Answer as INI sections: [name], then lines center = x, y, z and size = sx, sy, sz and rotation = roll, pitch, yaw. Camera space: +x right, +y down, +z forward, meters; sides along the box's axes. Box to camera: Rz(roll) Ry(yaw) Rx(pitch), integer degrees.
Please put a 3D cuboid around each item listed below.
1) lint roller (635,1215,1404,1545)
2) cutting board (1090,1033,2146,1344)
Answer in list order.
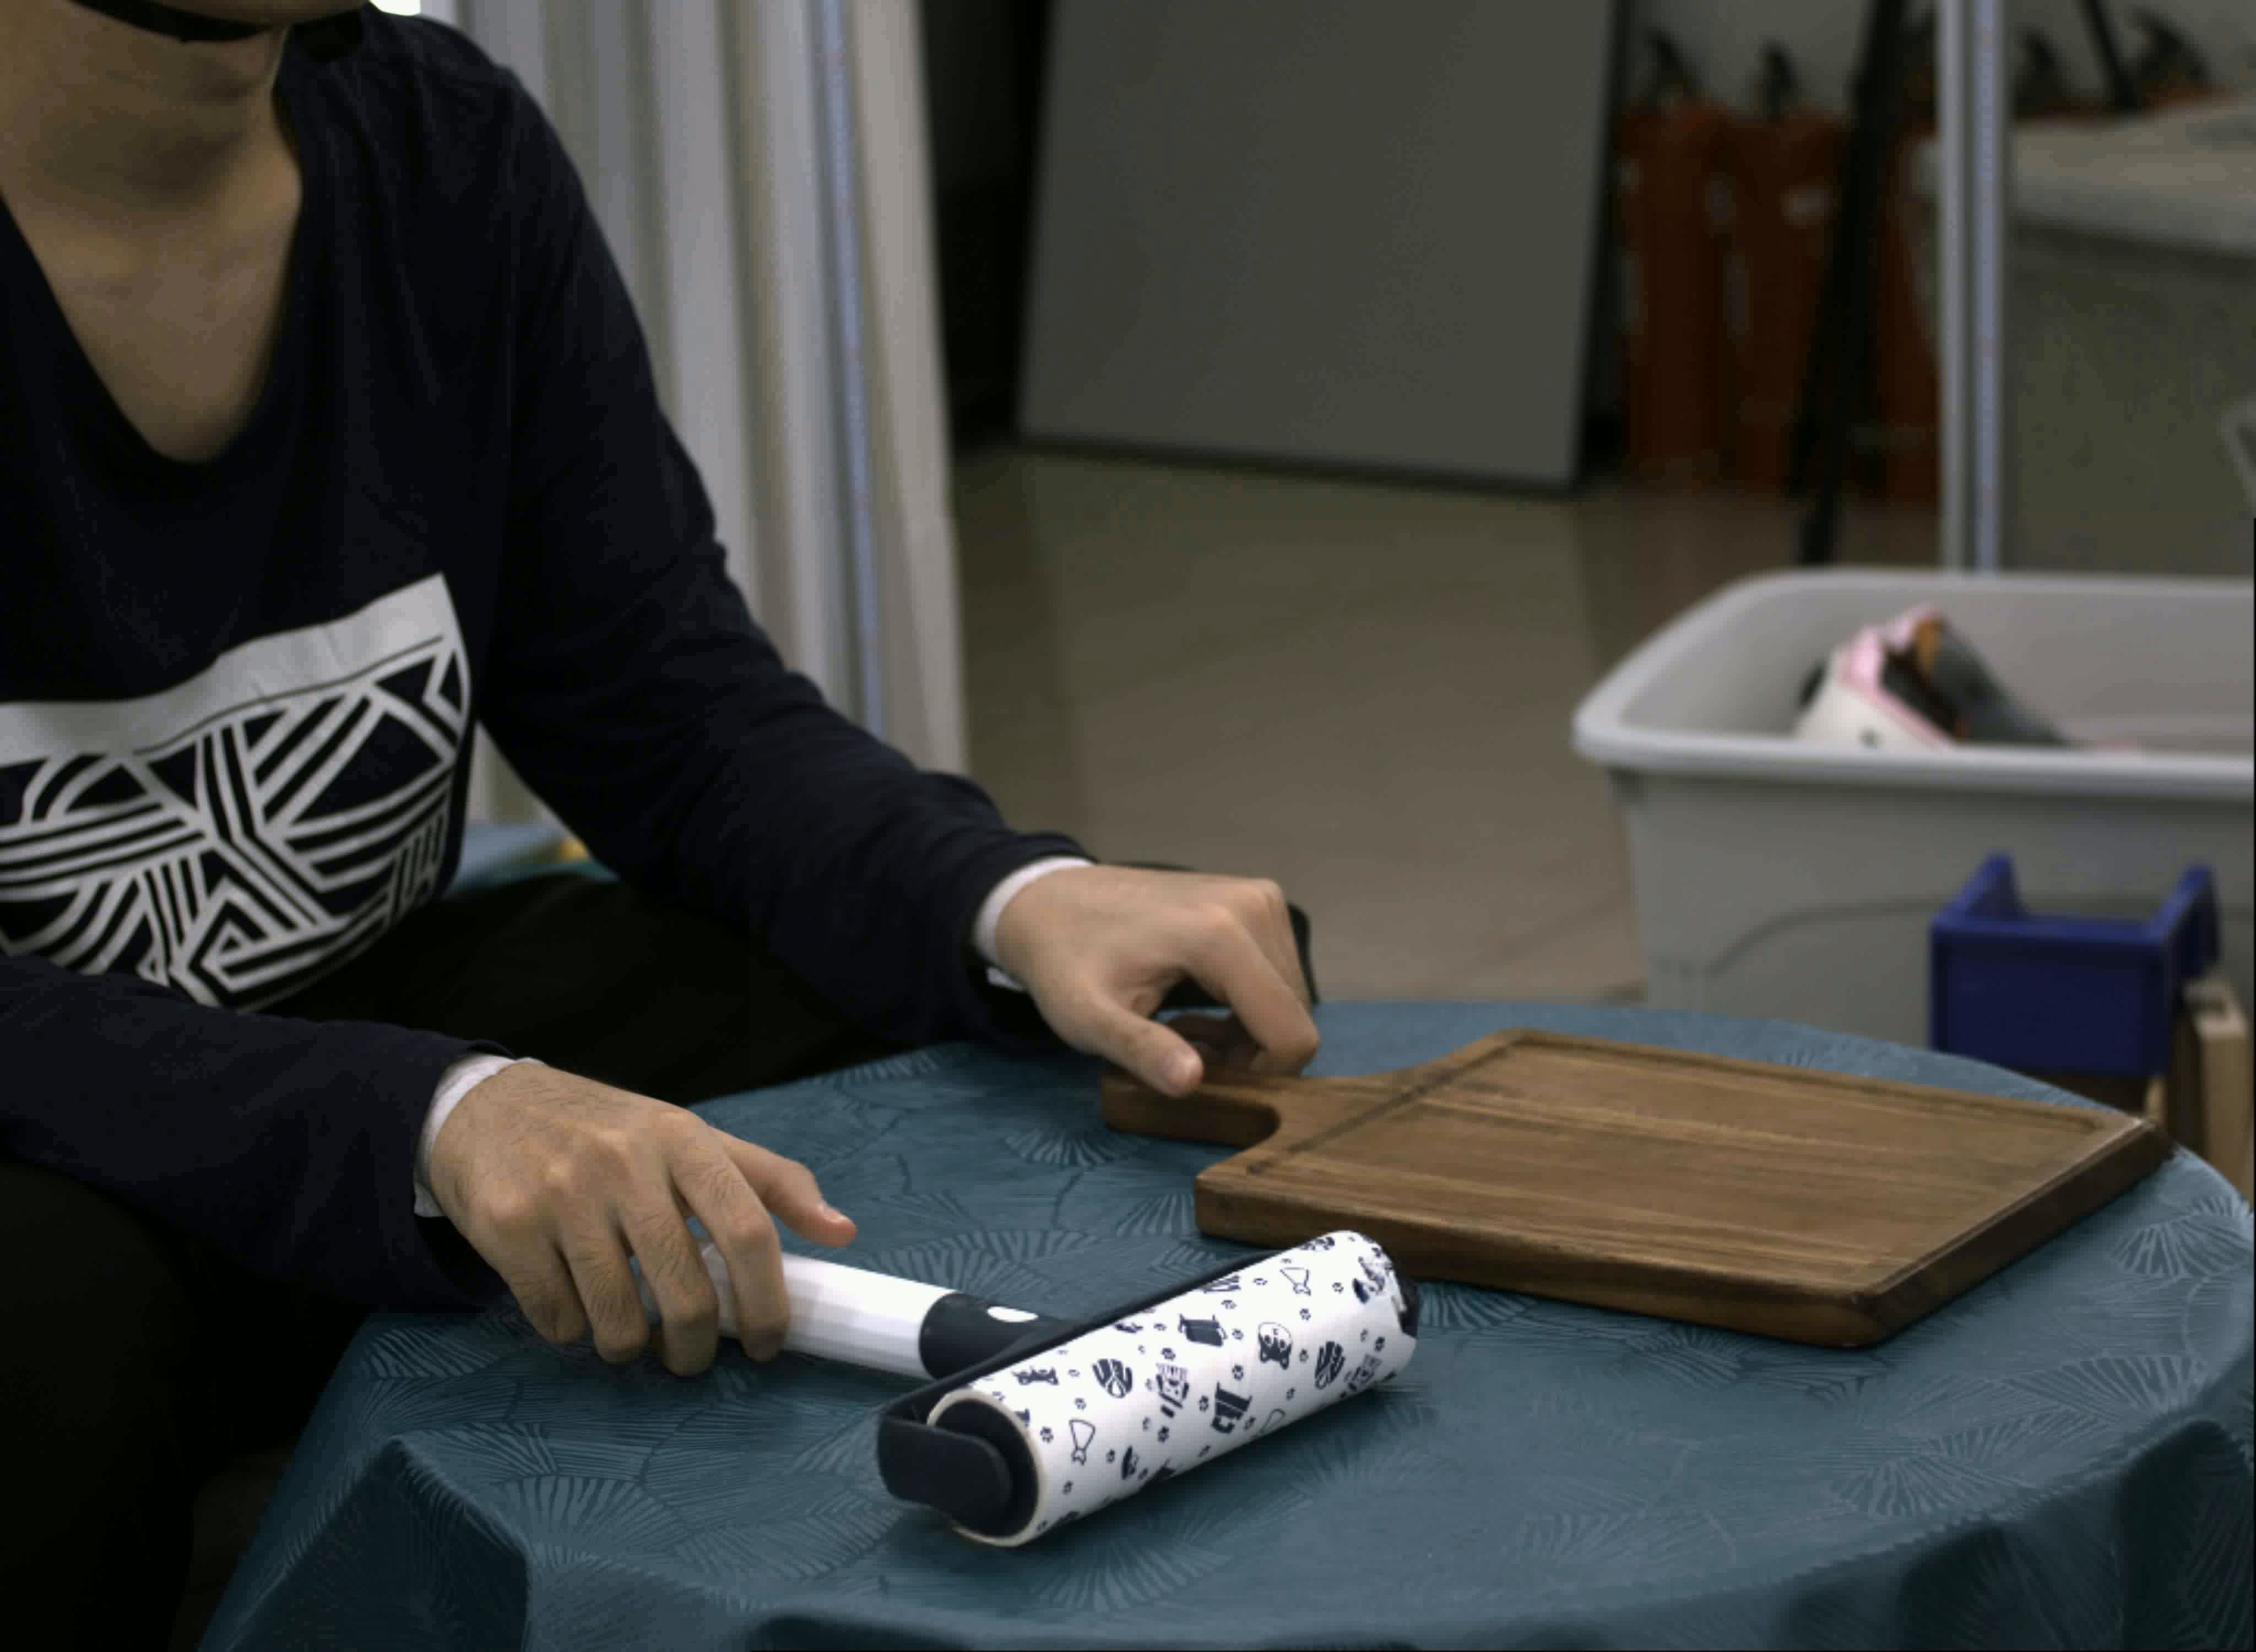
[lint roller]
center = -0.061, 0.148, 1.592
size = 0.249, 0.051, 0.173
rotation = 6, 18, 43
[cutting board]
center = 0.134, 0.107, 1.748
size = 0.354, 0.023, 0.197
rotation = 6, 16, 37
